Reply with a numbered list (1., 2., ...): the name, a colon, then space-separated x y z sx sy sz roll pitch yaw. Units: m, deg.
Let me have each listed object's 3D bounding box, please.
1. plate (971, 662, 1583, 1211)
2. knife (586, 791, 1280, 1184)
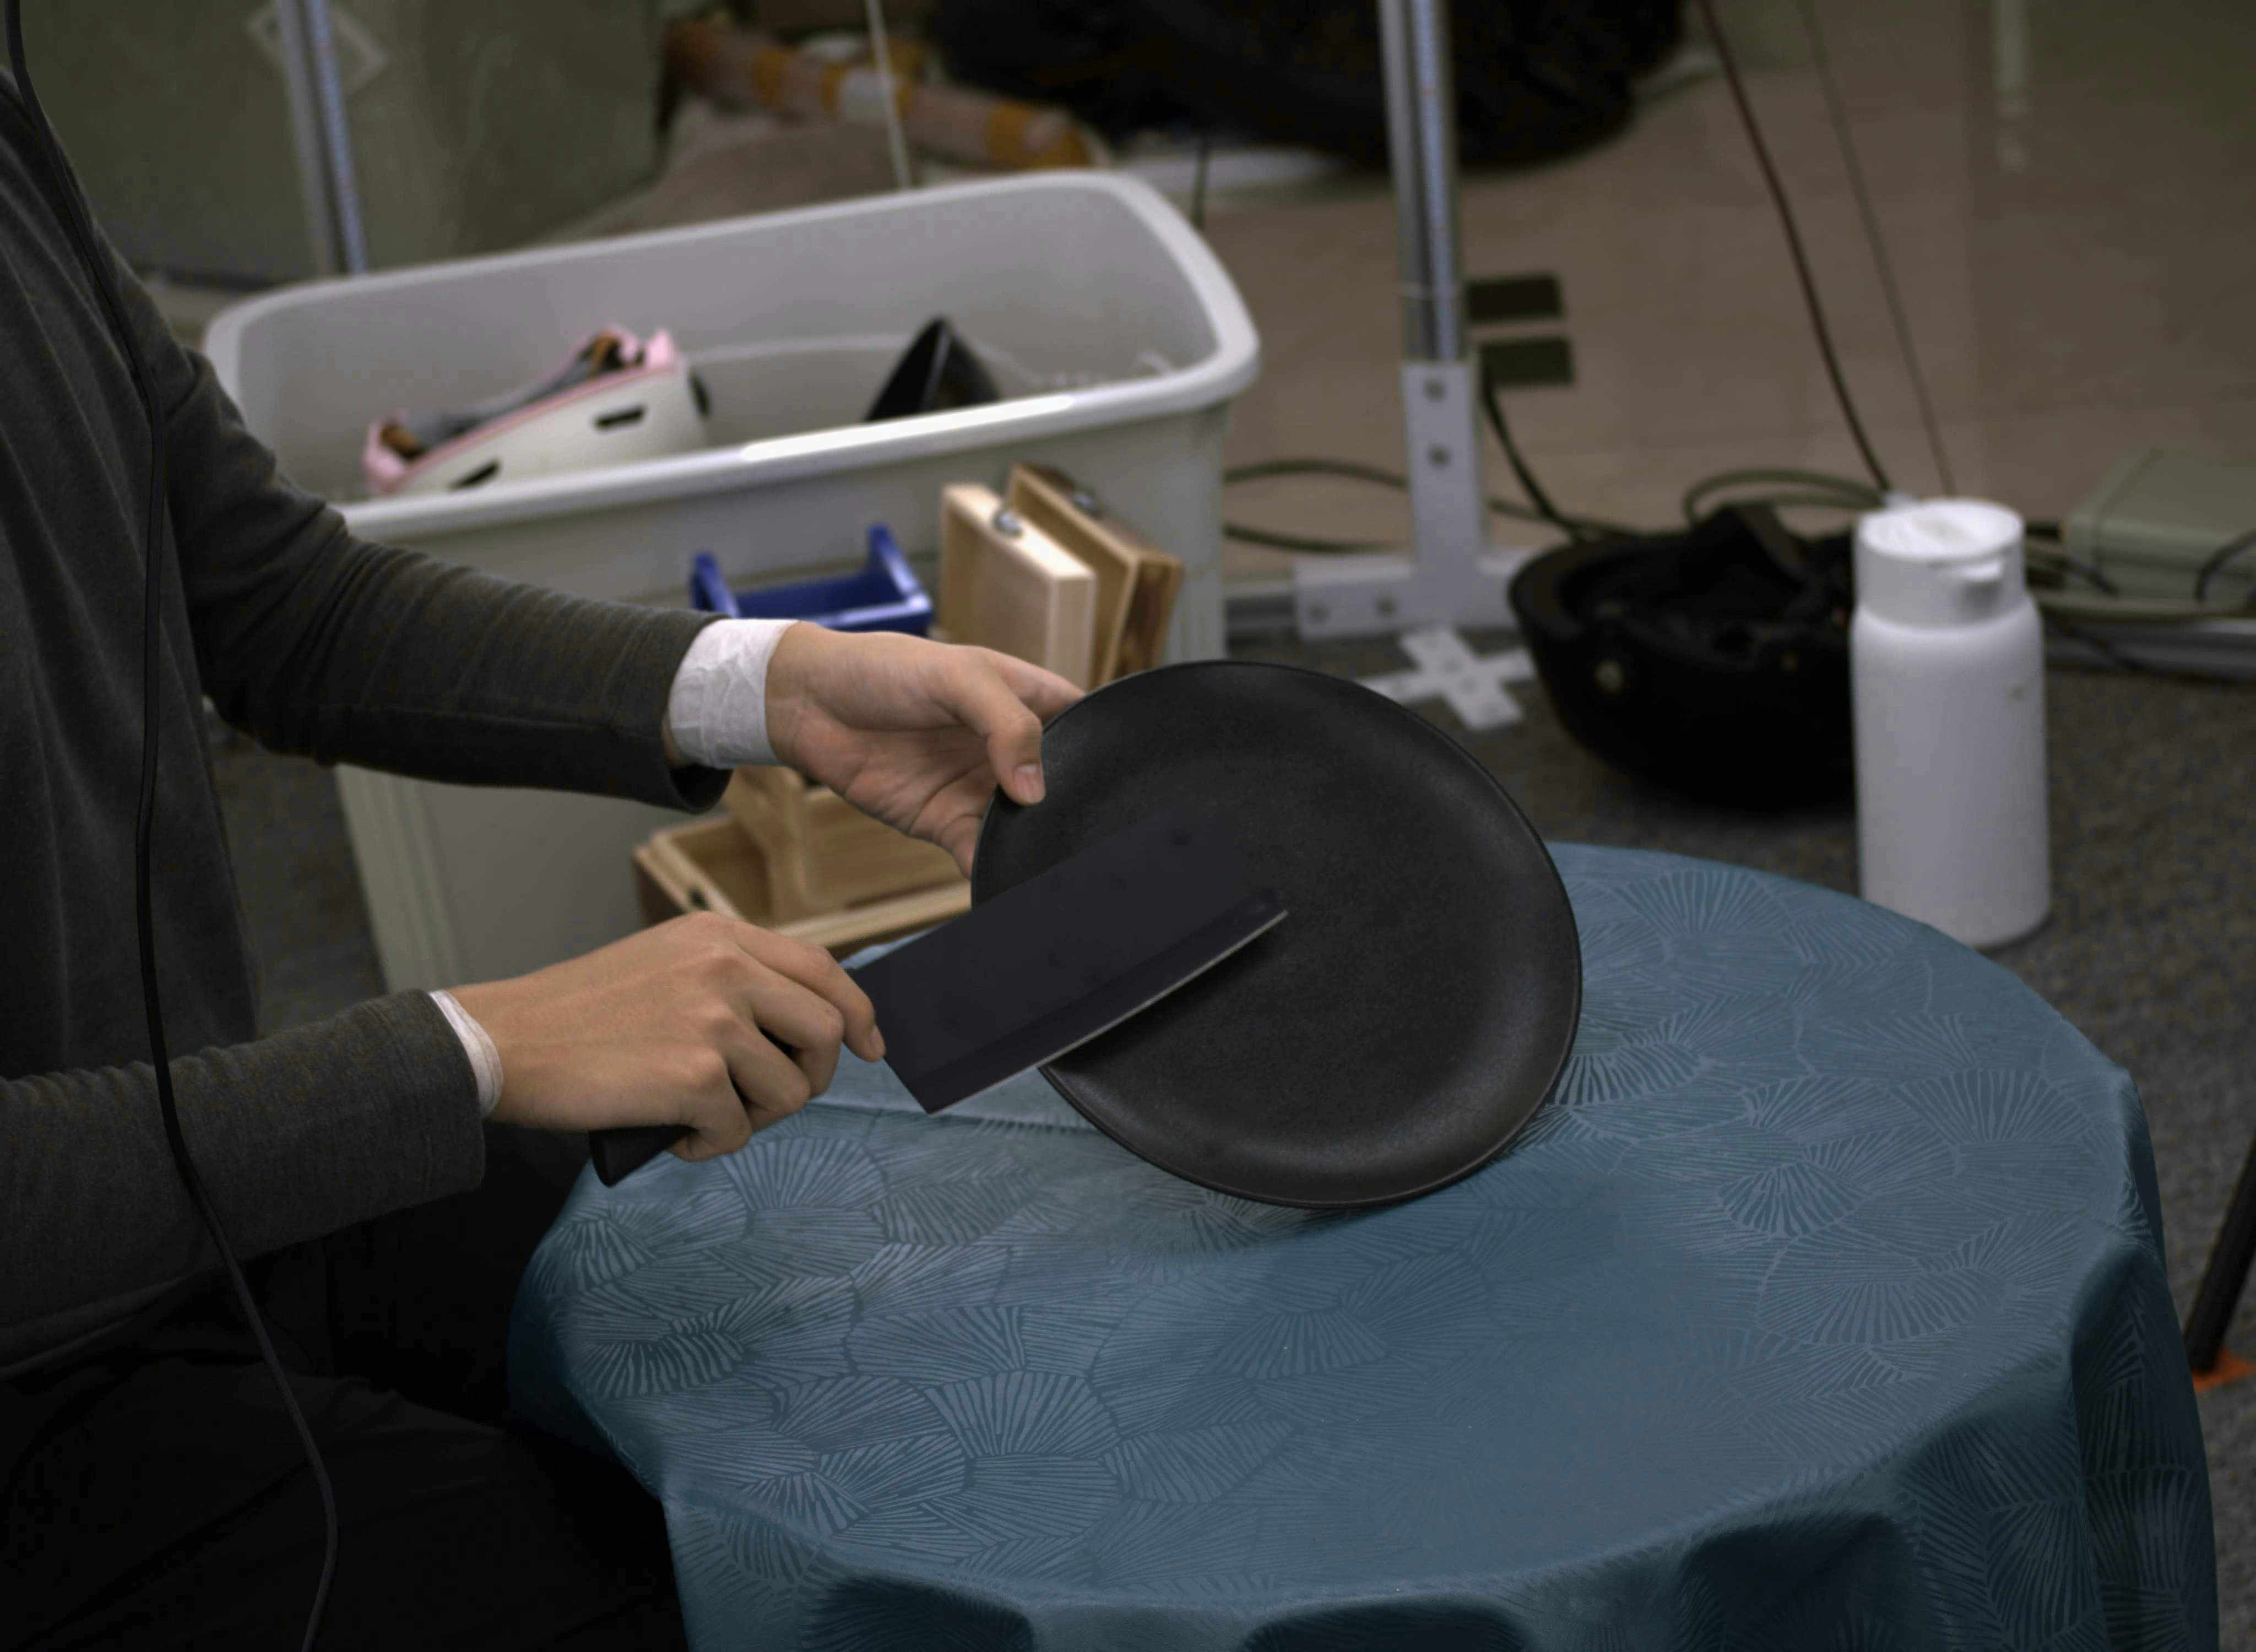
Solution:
1. plate: 0.056 0.044 2.174 0.244 0.024 0.240 8 58 -13
2. knife: -0.073 0.066 2.107 0.300 0.021 0.080 -23 68 -29
